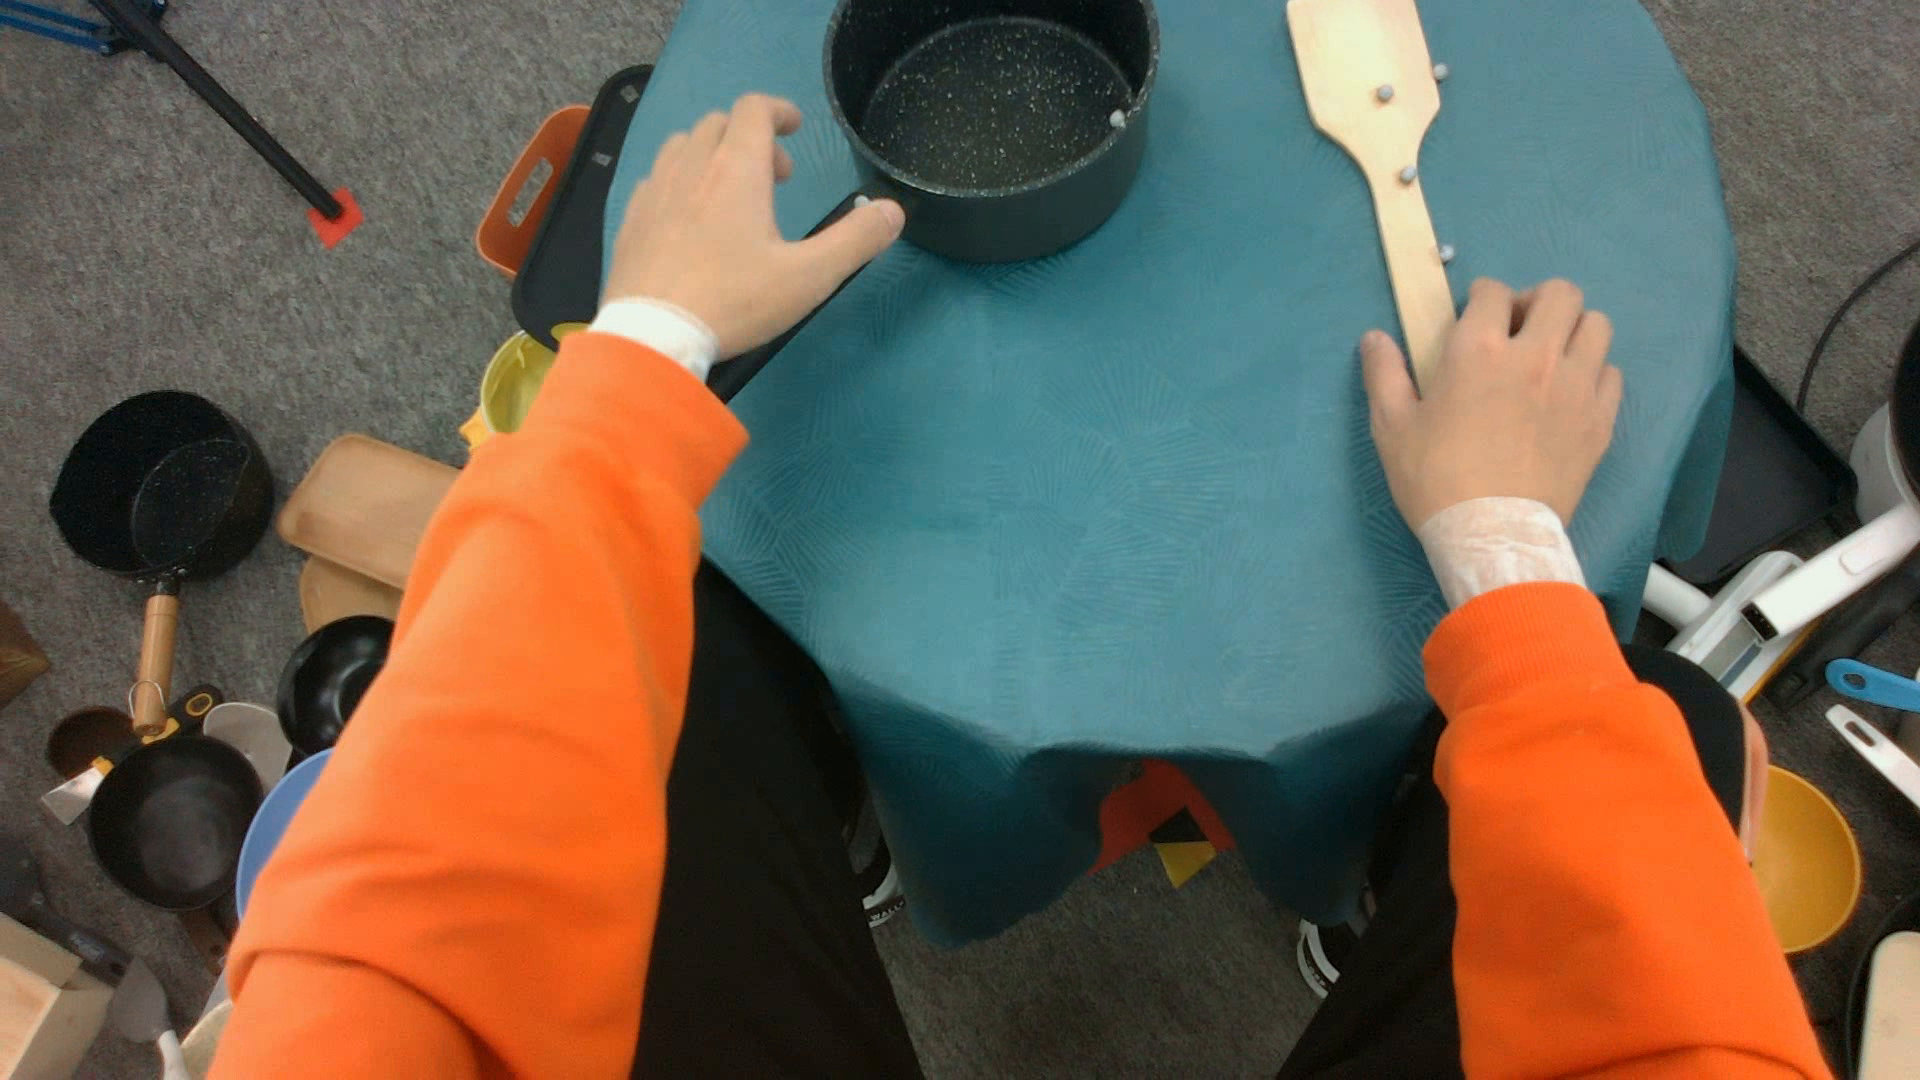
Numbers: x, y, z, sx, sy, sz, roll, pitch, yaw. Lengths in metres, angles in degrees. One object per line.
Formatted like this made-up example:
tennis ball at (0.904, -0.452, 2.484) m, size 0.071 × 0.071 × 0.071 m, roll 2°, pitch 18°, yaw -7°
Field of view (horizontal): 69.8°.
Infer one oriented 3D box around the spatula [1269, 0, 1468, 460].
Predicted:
spatula at (0.223, -0.177, 0.725) m, size 0.072 × 0.010 × 0.294 m, roll -6°, pitch 70°, yaw -1°

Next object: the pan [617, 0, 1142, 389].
pan at (-0.041, -0.187, 0.714) m, size 0.172 × 0.086 × 0.329 m, roll 37°, pitch 76°, yaw 17°
